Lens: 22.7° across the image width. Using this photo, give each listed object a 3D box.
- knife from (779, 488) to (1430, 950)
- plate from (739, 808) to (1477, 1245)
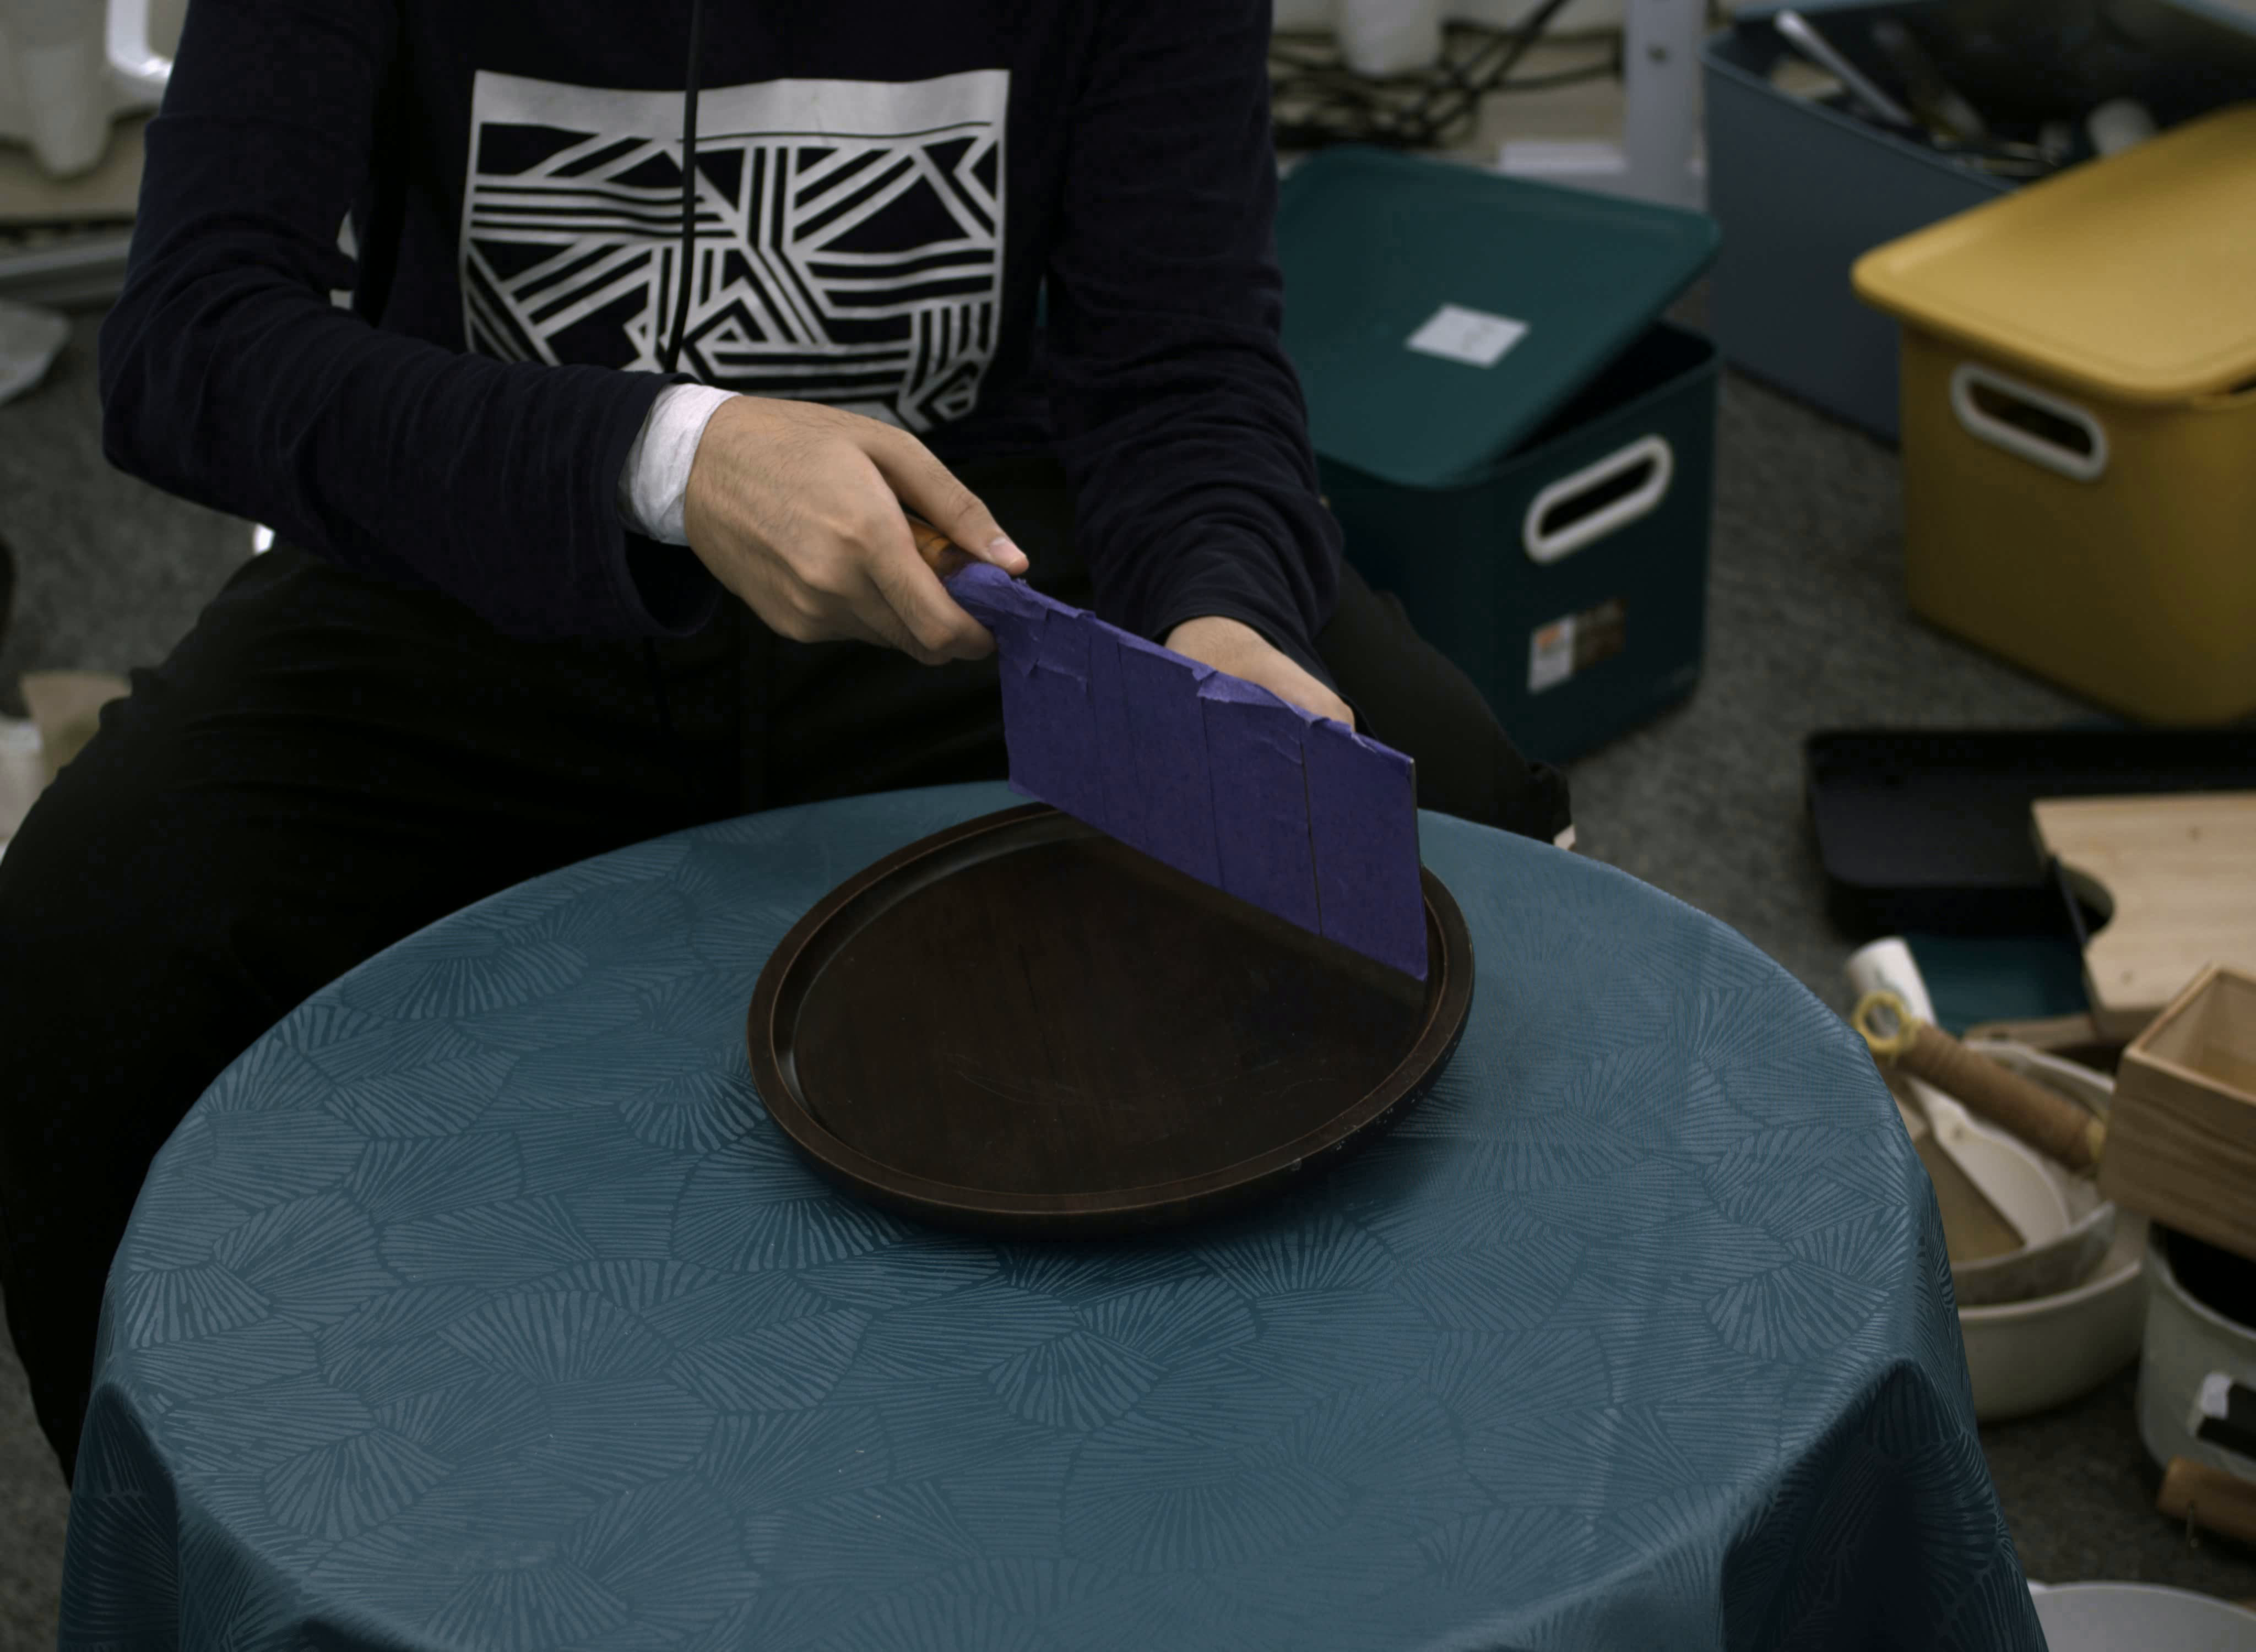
[{"bbox_3d":[-0.012,-0.036,1.976,0.032,0.103,0.315,-26,35,-34],"label":"knife"},{"bbox_3d":[-0.006,0.064,1.921,0.253,0.028,0.259,-5,33,3],"label":"plate"}]
